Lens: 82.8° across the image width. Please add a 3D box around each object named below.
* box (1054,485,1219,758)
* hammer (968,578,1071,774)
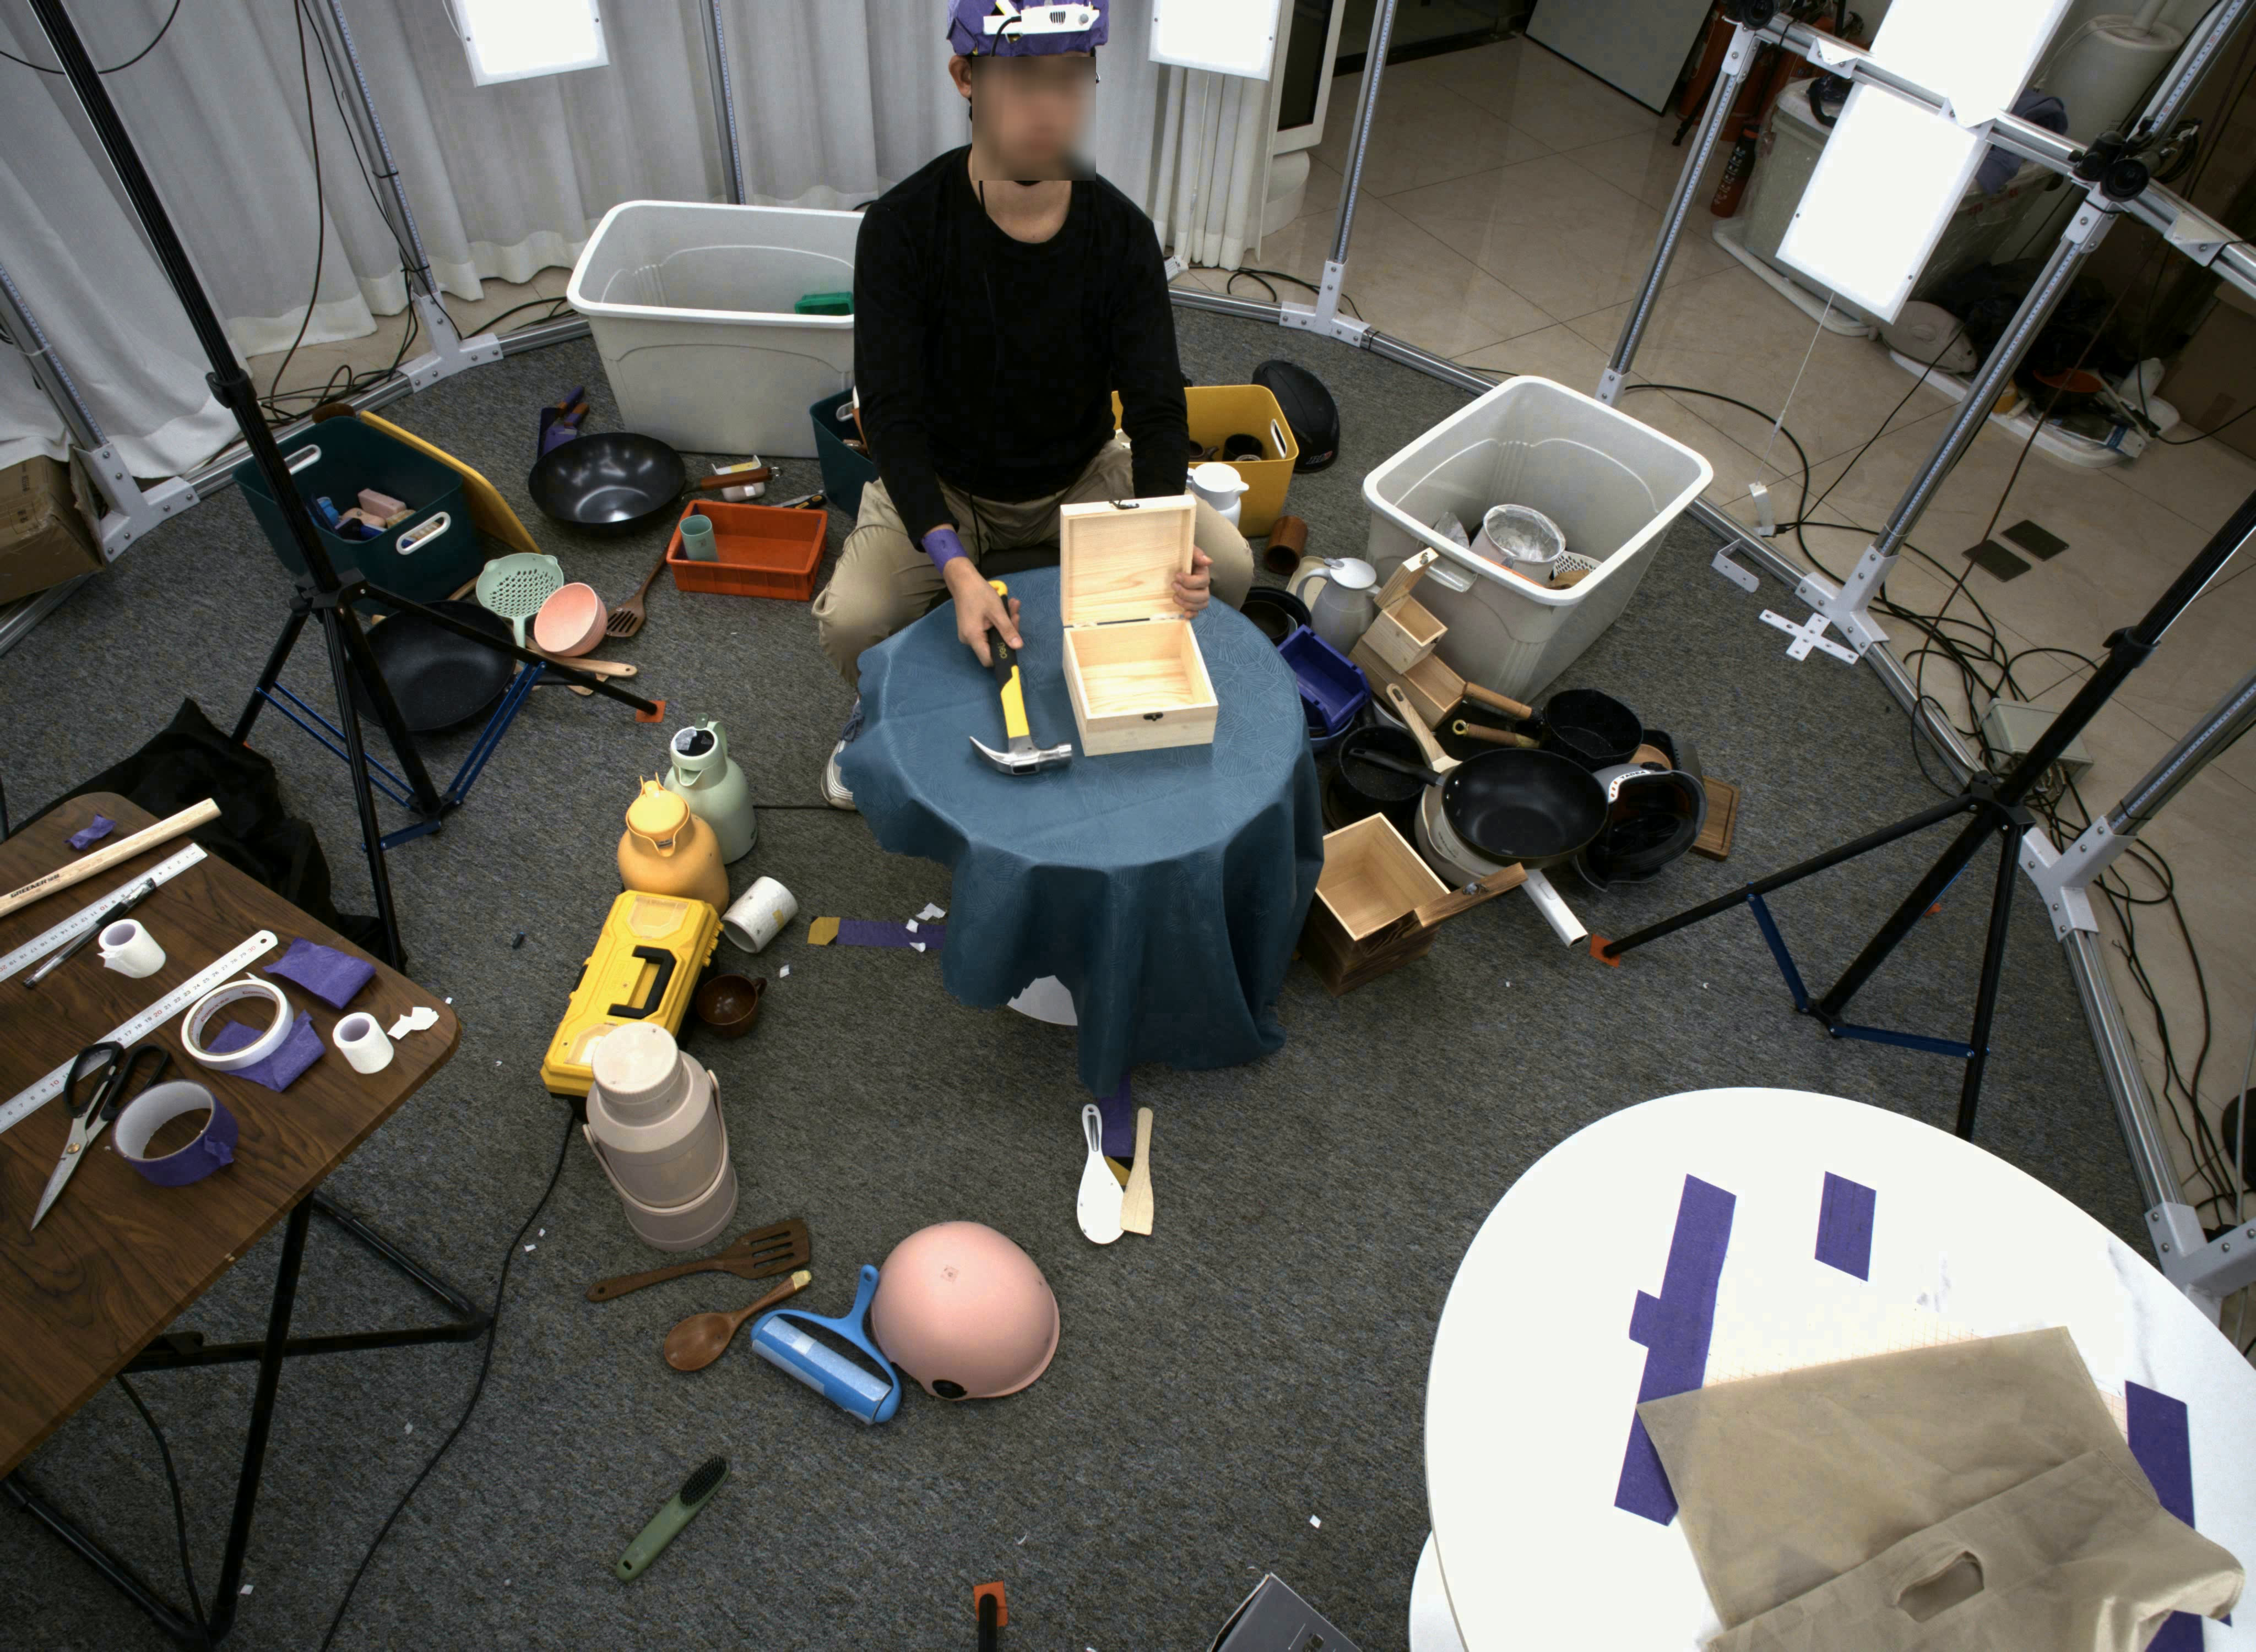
[{"bbox_3d":[0.012,-0.277,1.750,0.181,0.247,0.272,-8,51,-8],"label":"box"},{"bbox_3d":[-0.168,-0.217,1.797,0.131,0.031,0.346,-10,56,-2],"label":"hammer"}]
